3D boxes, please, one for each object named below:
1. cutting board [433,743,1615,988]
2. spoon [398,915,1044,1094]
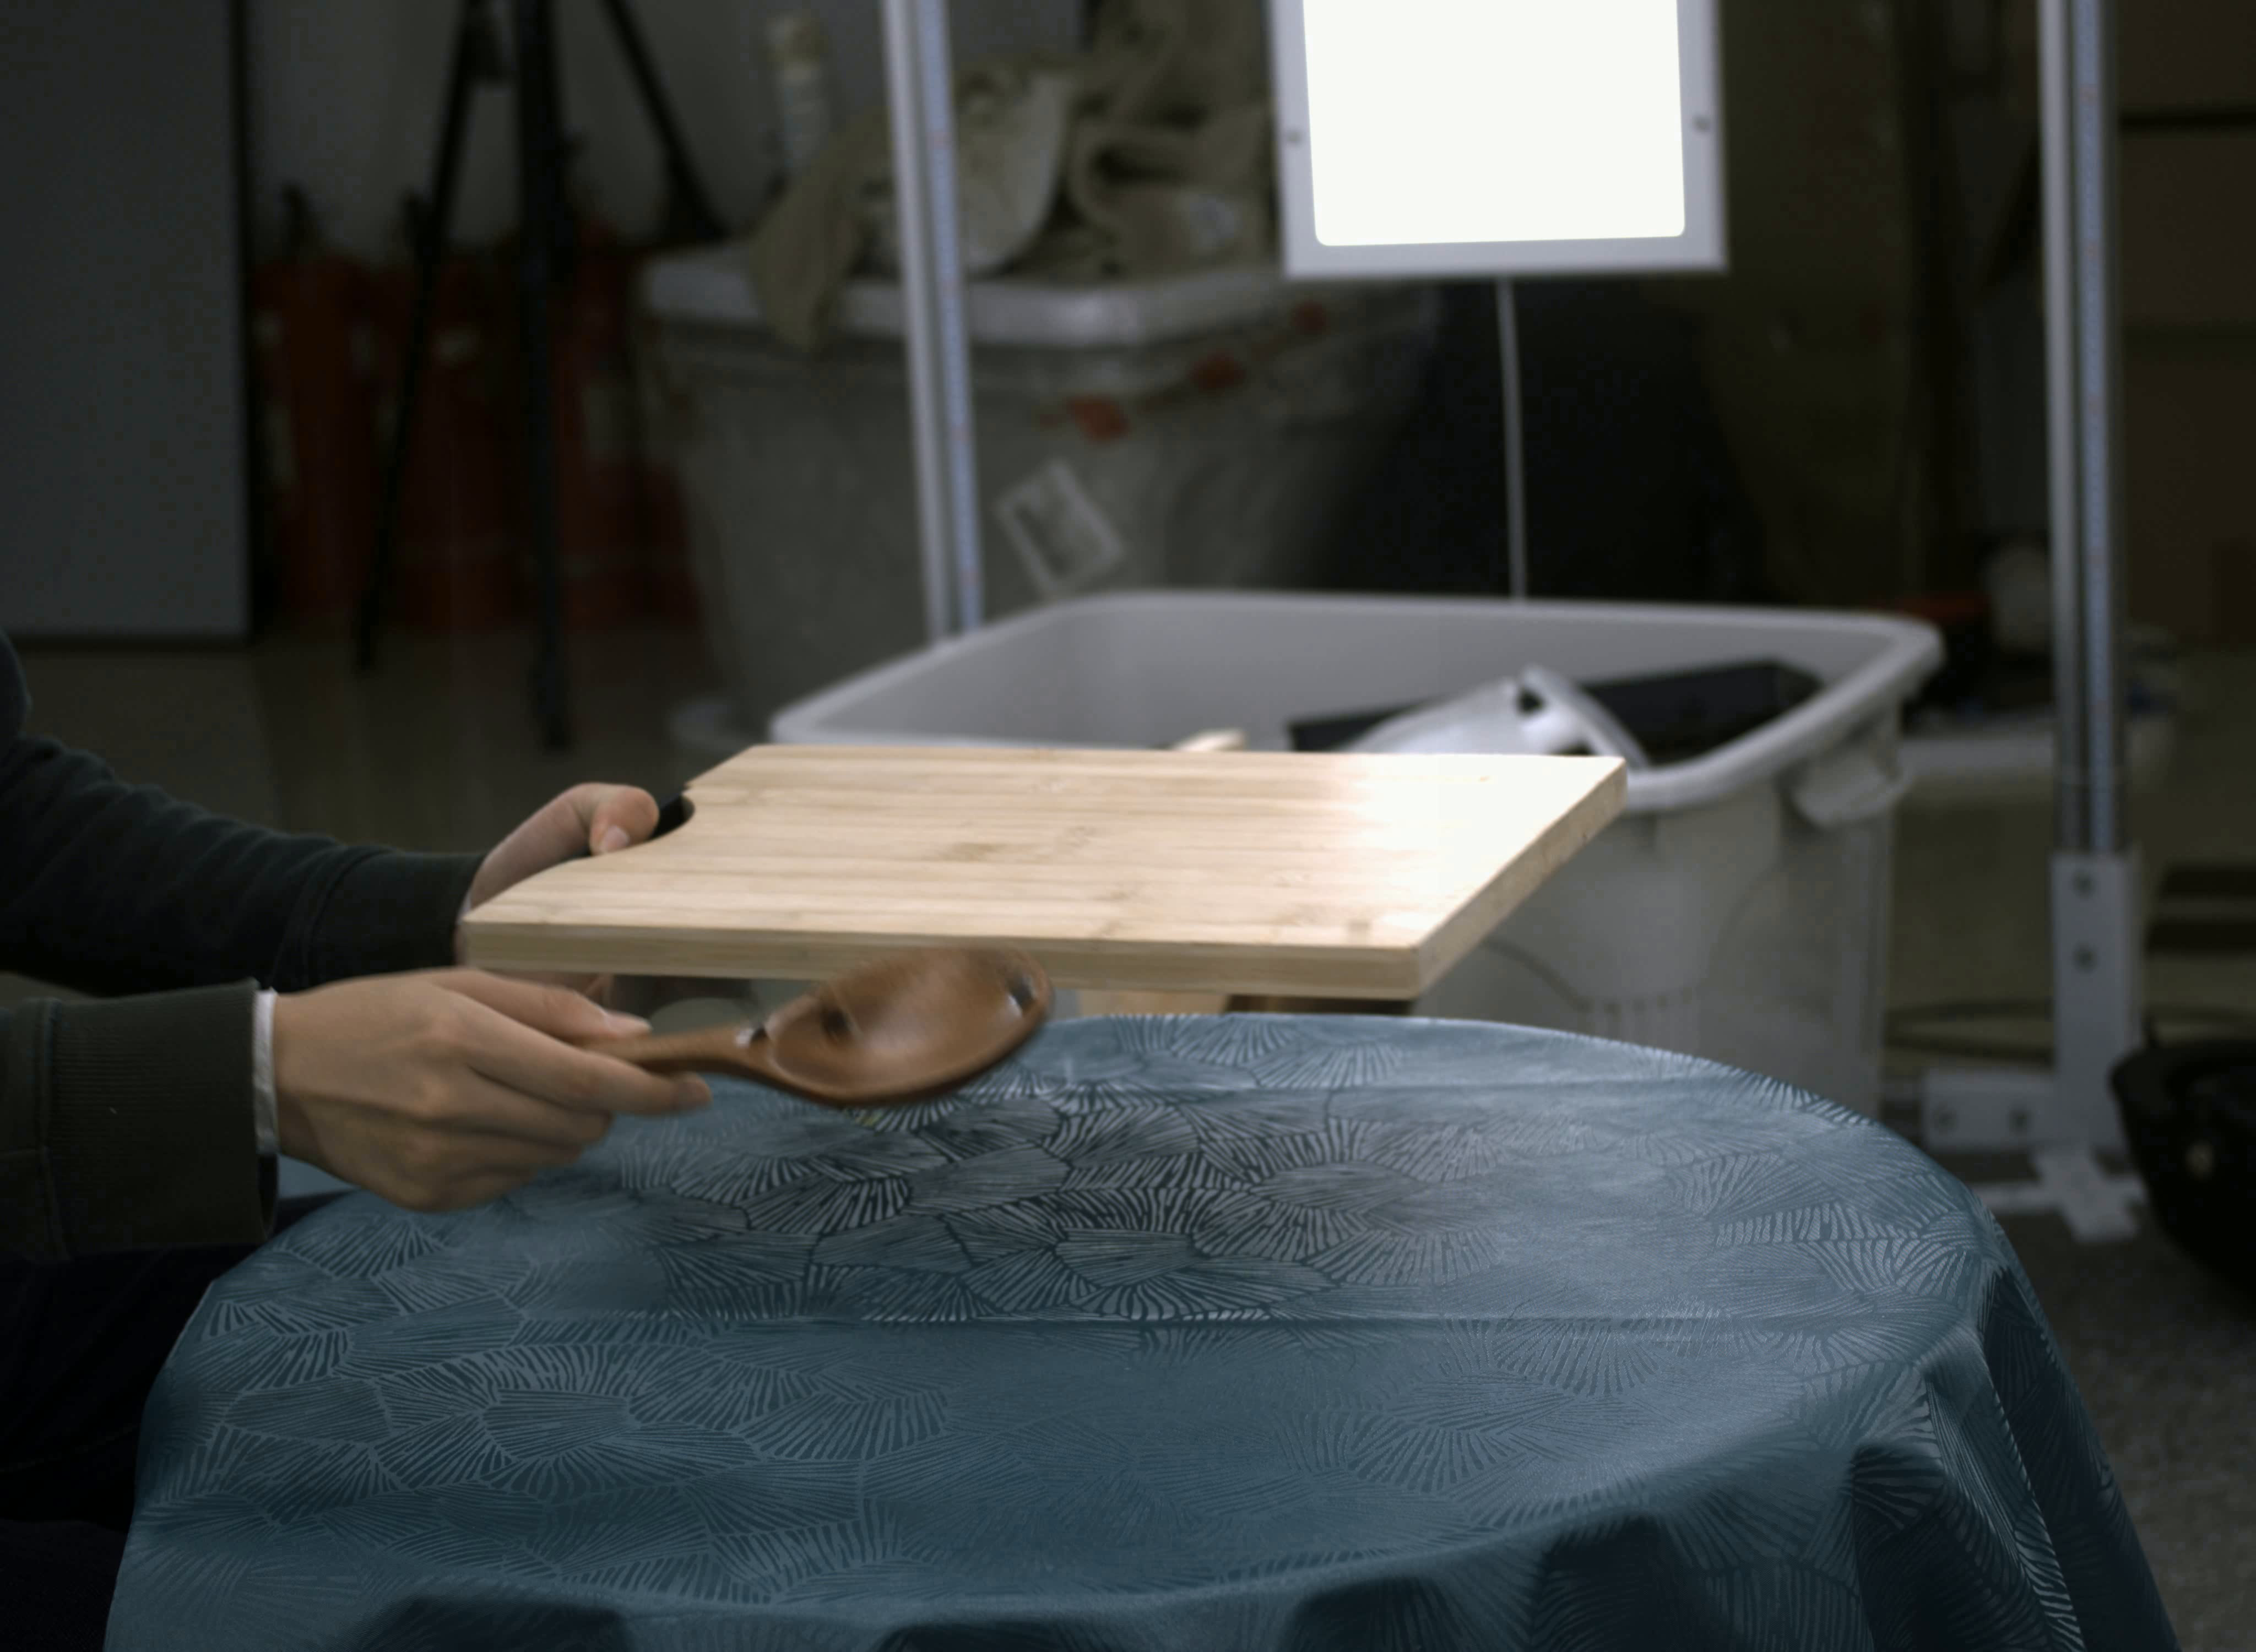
[{"bbox_3d":[-0.031,0.011,1.889,0.354,0.023,0.246,1,15,23],"label":"cutting board"},{"bbox_3d":[-0.124,0.062,1.665,0.219,0.017,0.074,-7,36,24],"label":"spoon"}]
